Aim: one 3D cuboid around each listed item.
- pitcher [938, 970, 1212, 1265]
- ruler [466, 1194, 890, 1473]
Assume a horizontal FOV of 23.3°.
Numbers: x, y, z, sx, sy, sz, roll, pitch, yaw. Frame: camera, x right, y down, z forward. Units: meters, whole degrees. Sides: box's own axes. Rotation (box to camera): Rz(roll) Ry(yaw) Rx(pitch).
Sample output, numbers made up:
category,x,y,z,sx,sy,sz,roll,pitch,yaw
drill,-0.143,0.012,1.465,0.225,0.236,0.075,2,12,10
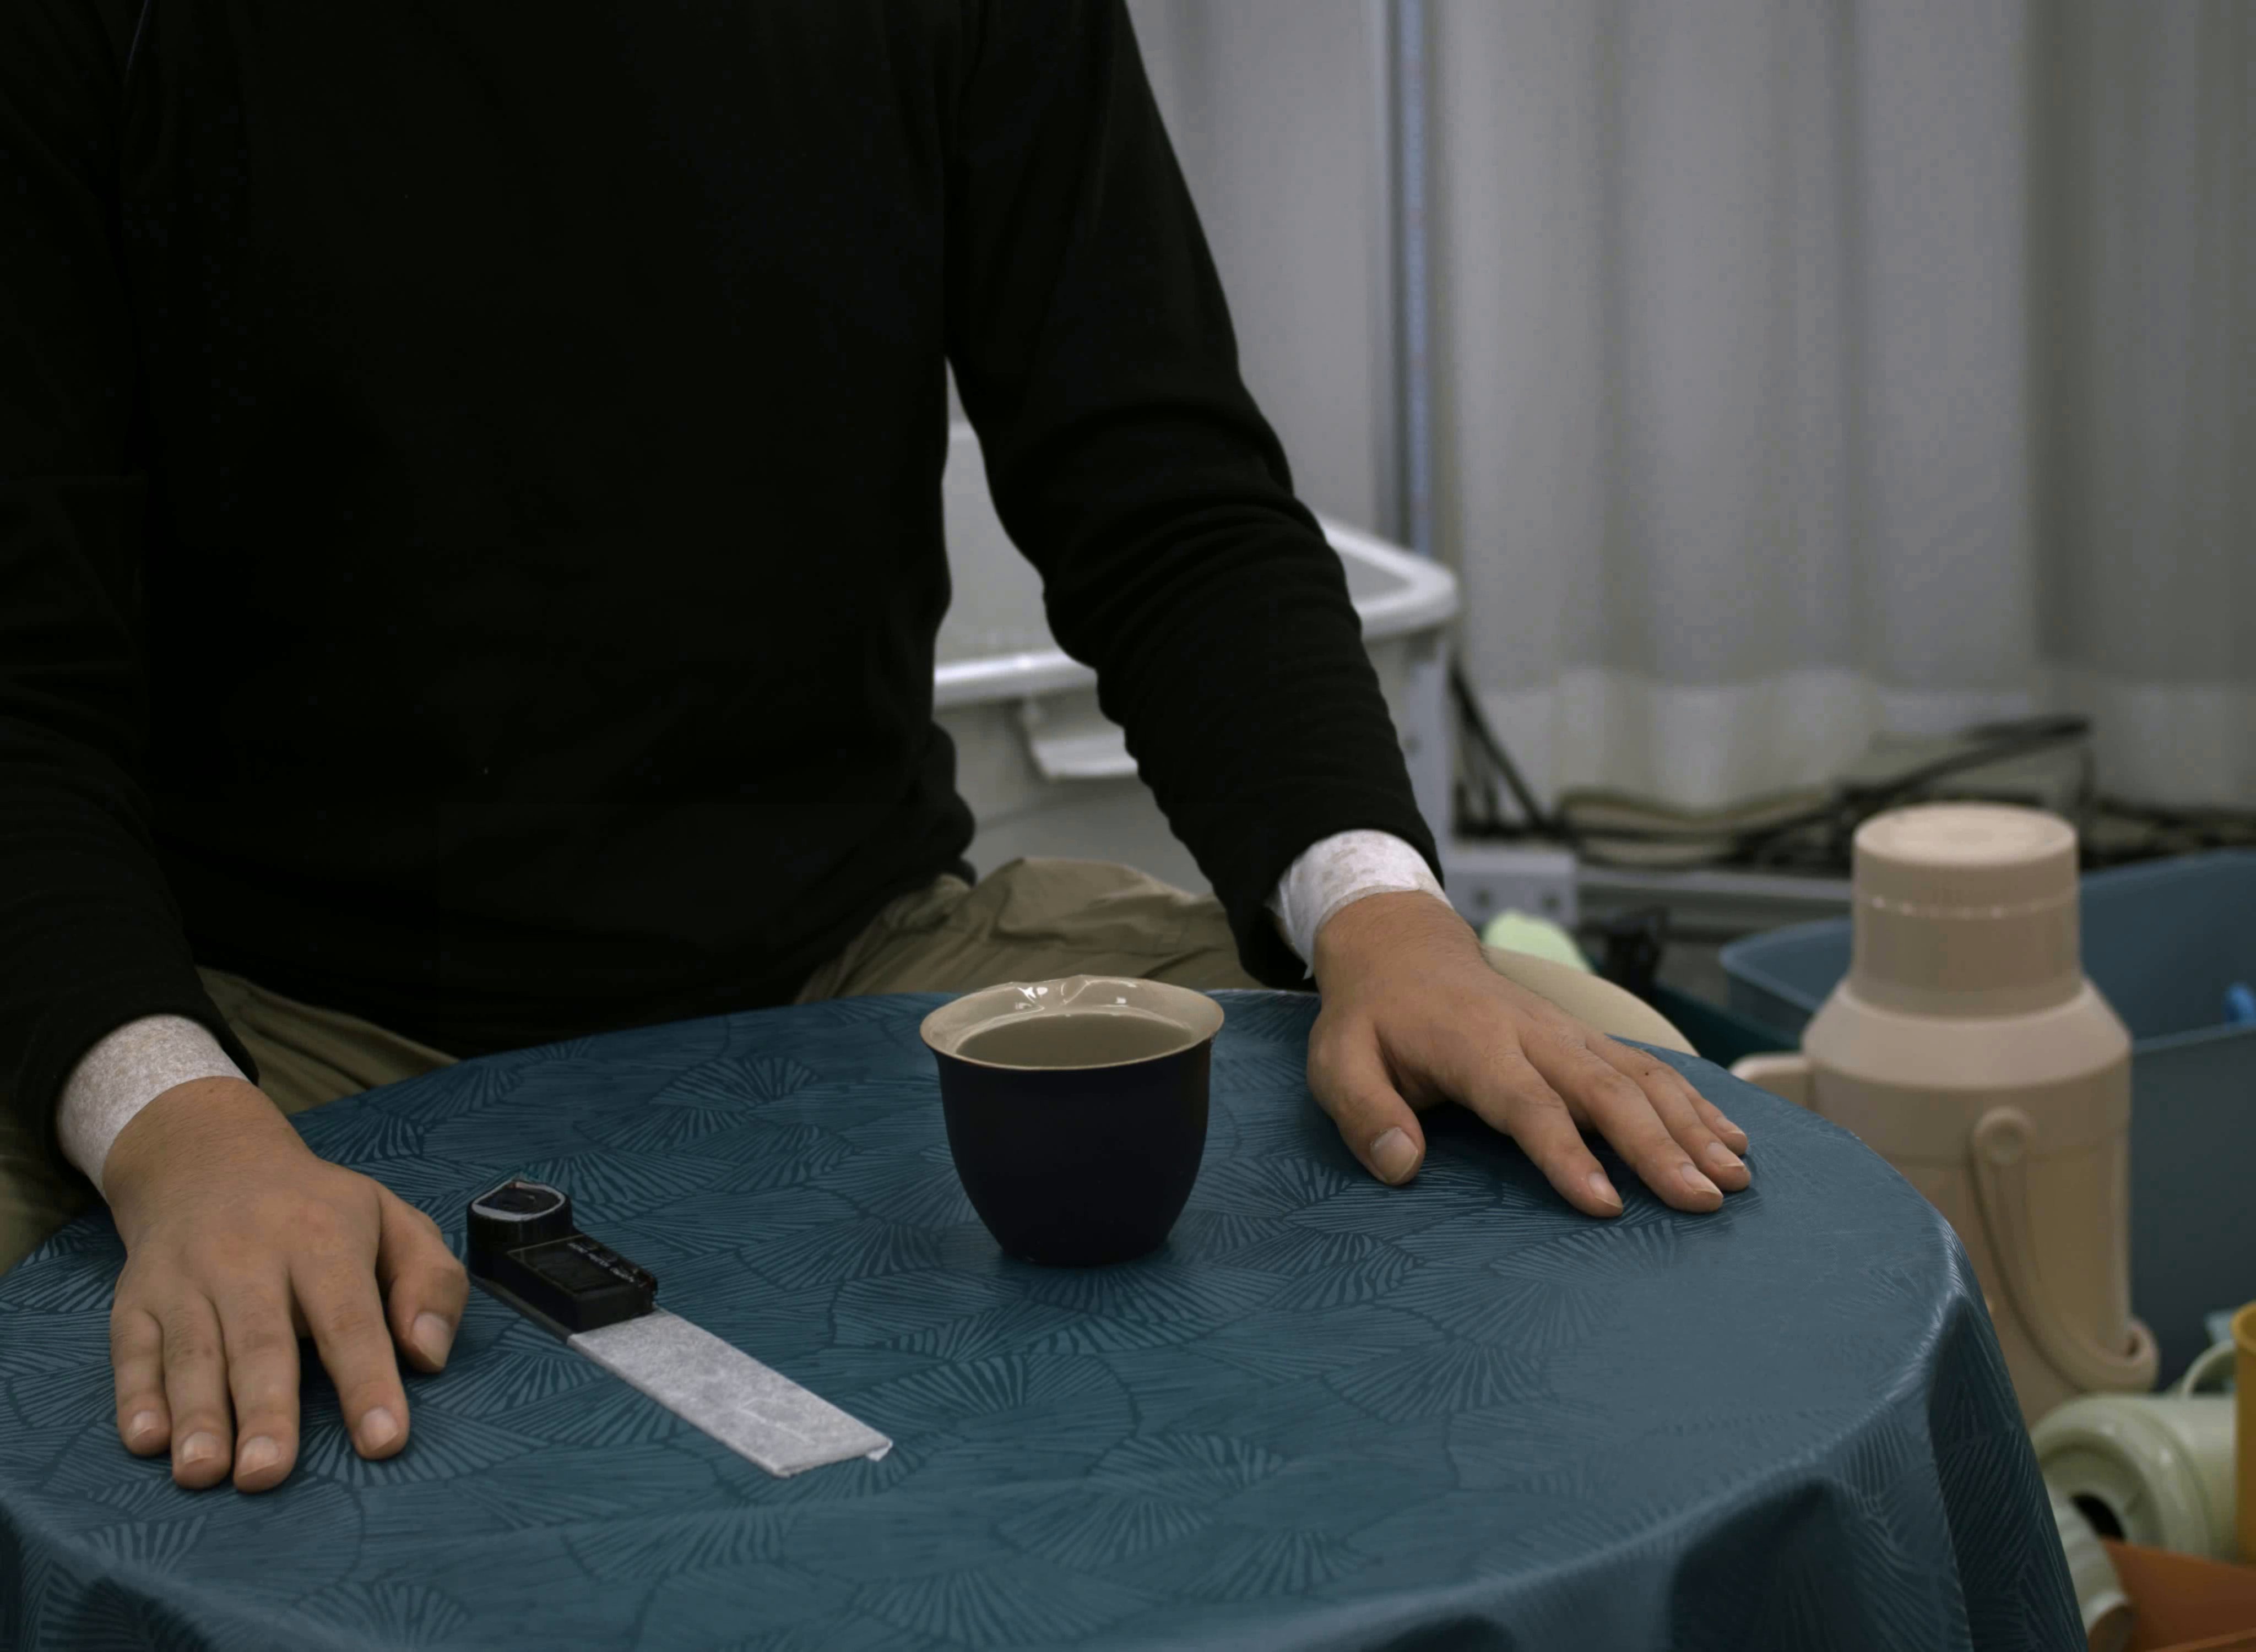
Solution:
category,x,y,z,sx,sy,sz,roll,pitch,yaw
pitcher,-0.016,0.091,1.666,0.083,0.071,0.097,-6,15,-8
ruler,-0.137,0.144,1.586,0.038,0.024,0.219,-18,19,-27
